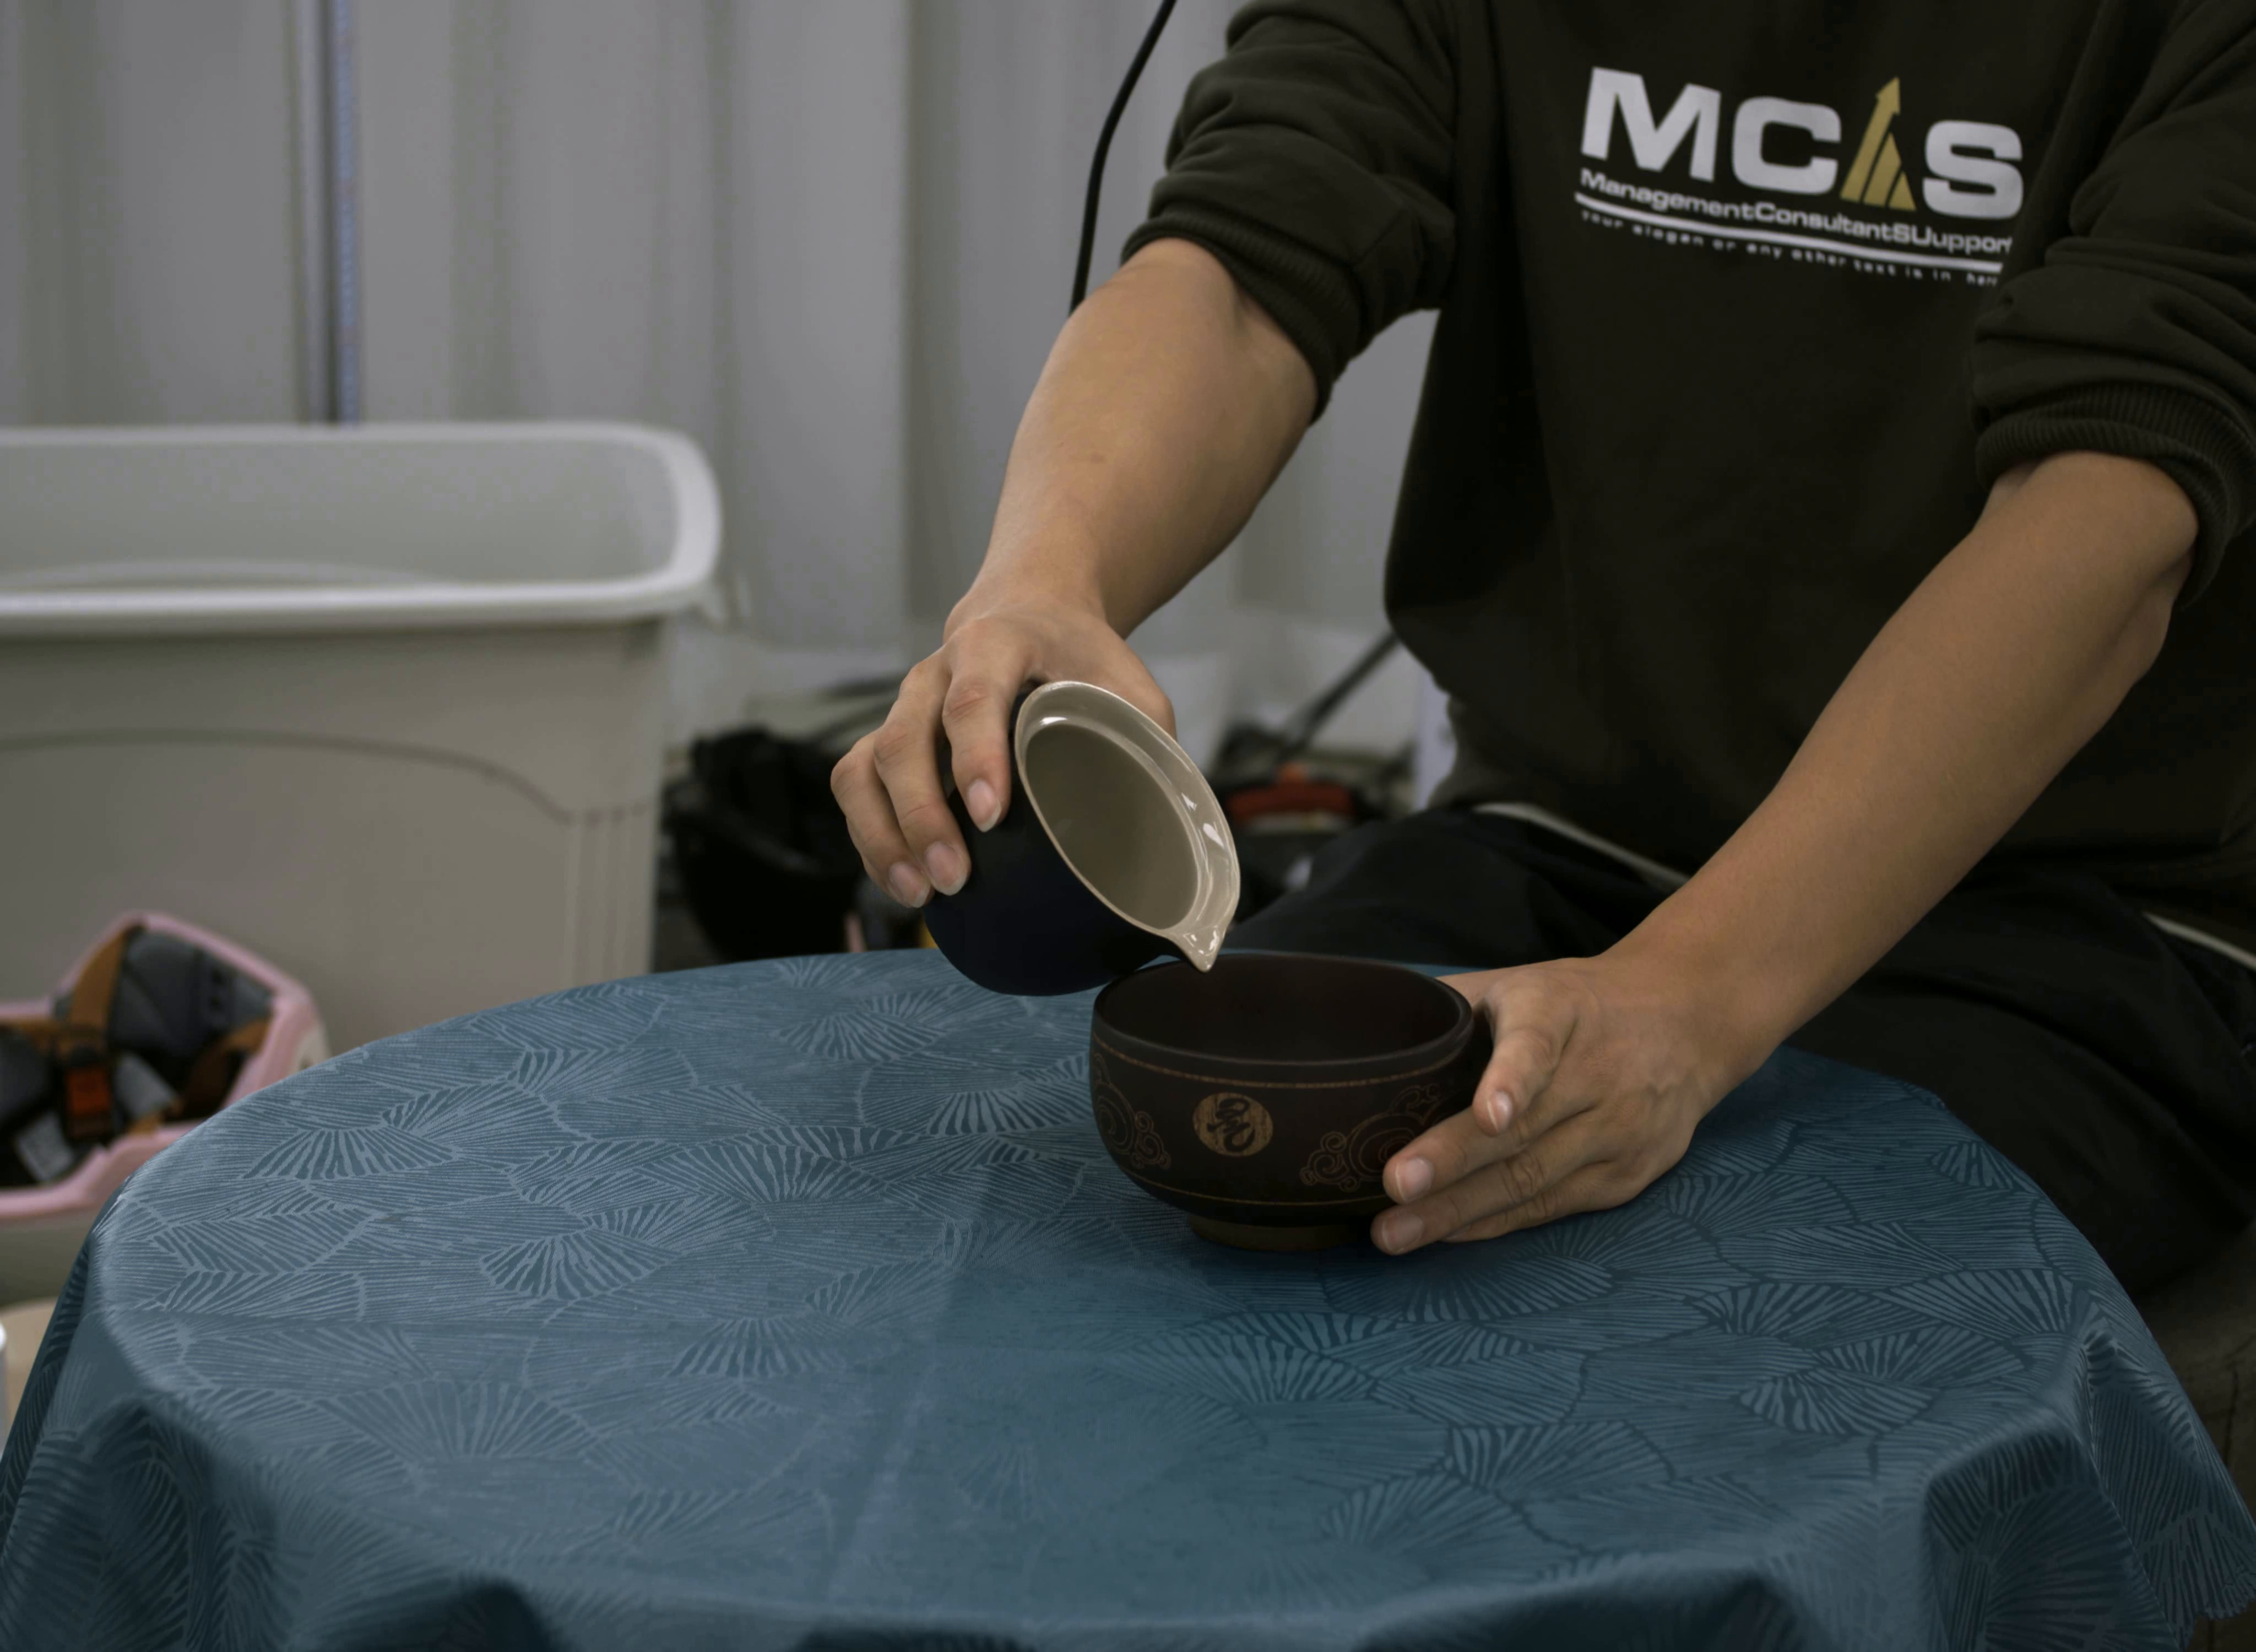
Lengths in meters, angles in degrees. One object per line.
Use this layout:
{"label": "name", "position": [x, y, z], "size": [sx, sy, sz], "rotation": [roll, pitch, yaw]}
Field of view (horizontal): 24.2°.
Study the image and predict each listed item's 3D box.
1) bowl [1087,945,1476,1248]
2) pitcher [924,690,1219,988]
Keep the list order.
{"label": "bowl", "position": [0.047, 0.086, 1.597], "size": [0.117, 0.070, 0.117], "rotation": [-2, 17, 1]}
{"label": "pitcher", "position": [-0.019, 0.014, 1.624], "size": [0.071, 0.095, 0.084], "rotation": [-36, -20, 30]}
